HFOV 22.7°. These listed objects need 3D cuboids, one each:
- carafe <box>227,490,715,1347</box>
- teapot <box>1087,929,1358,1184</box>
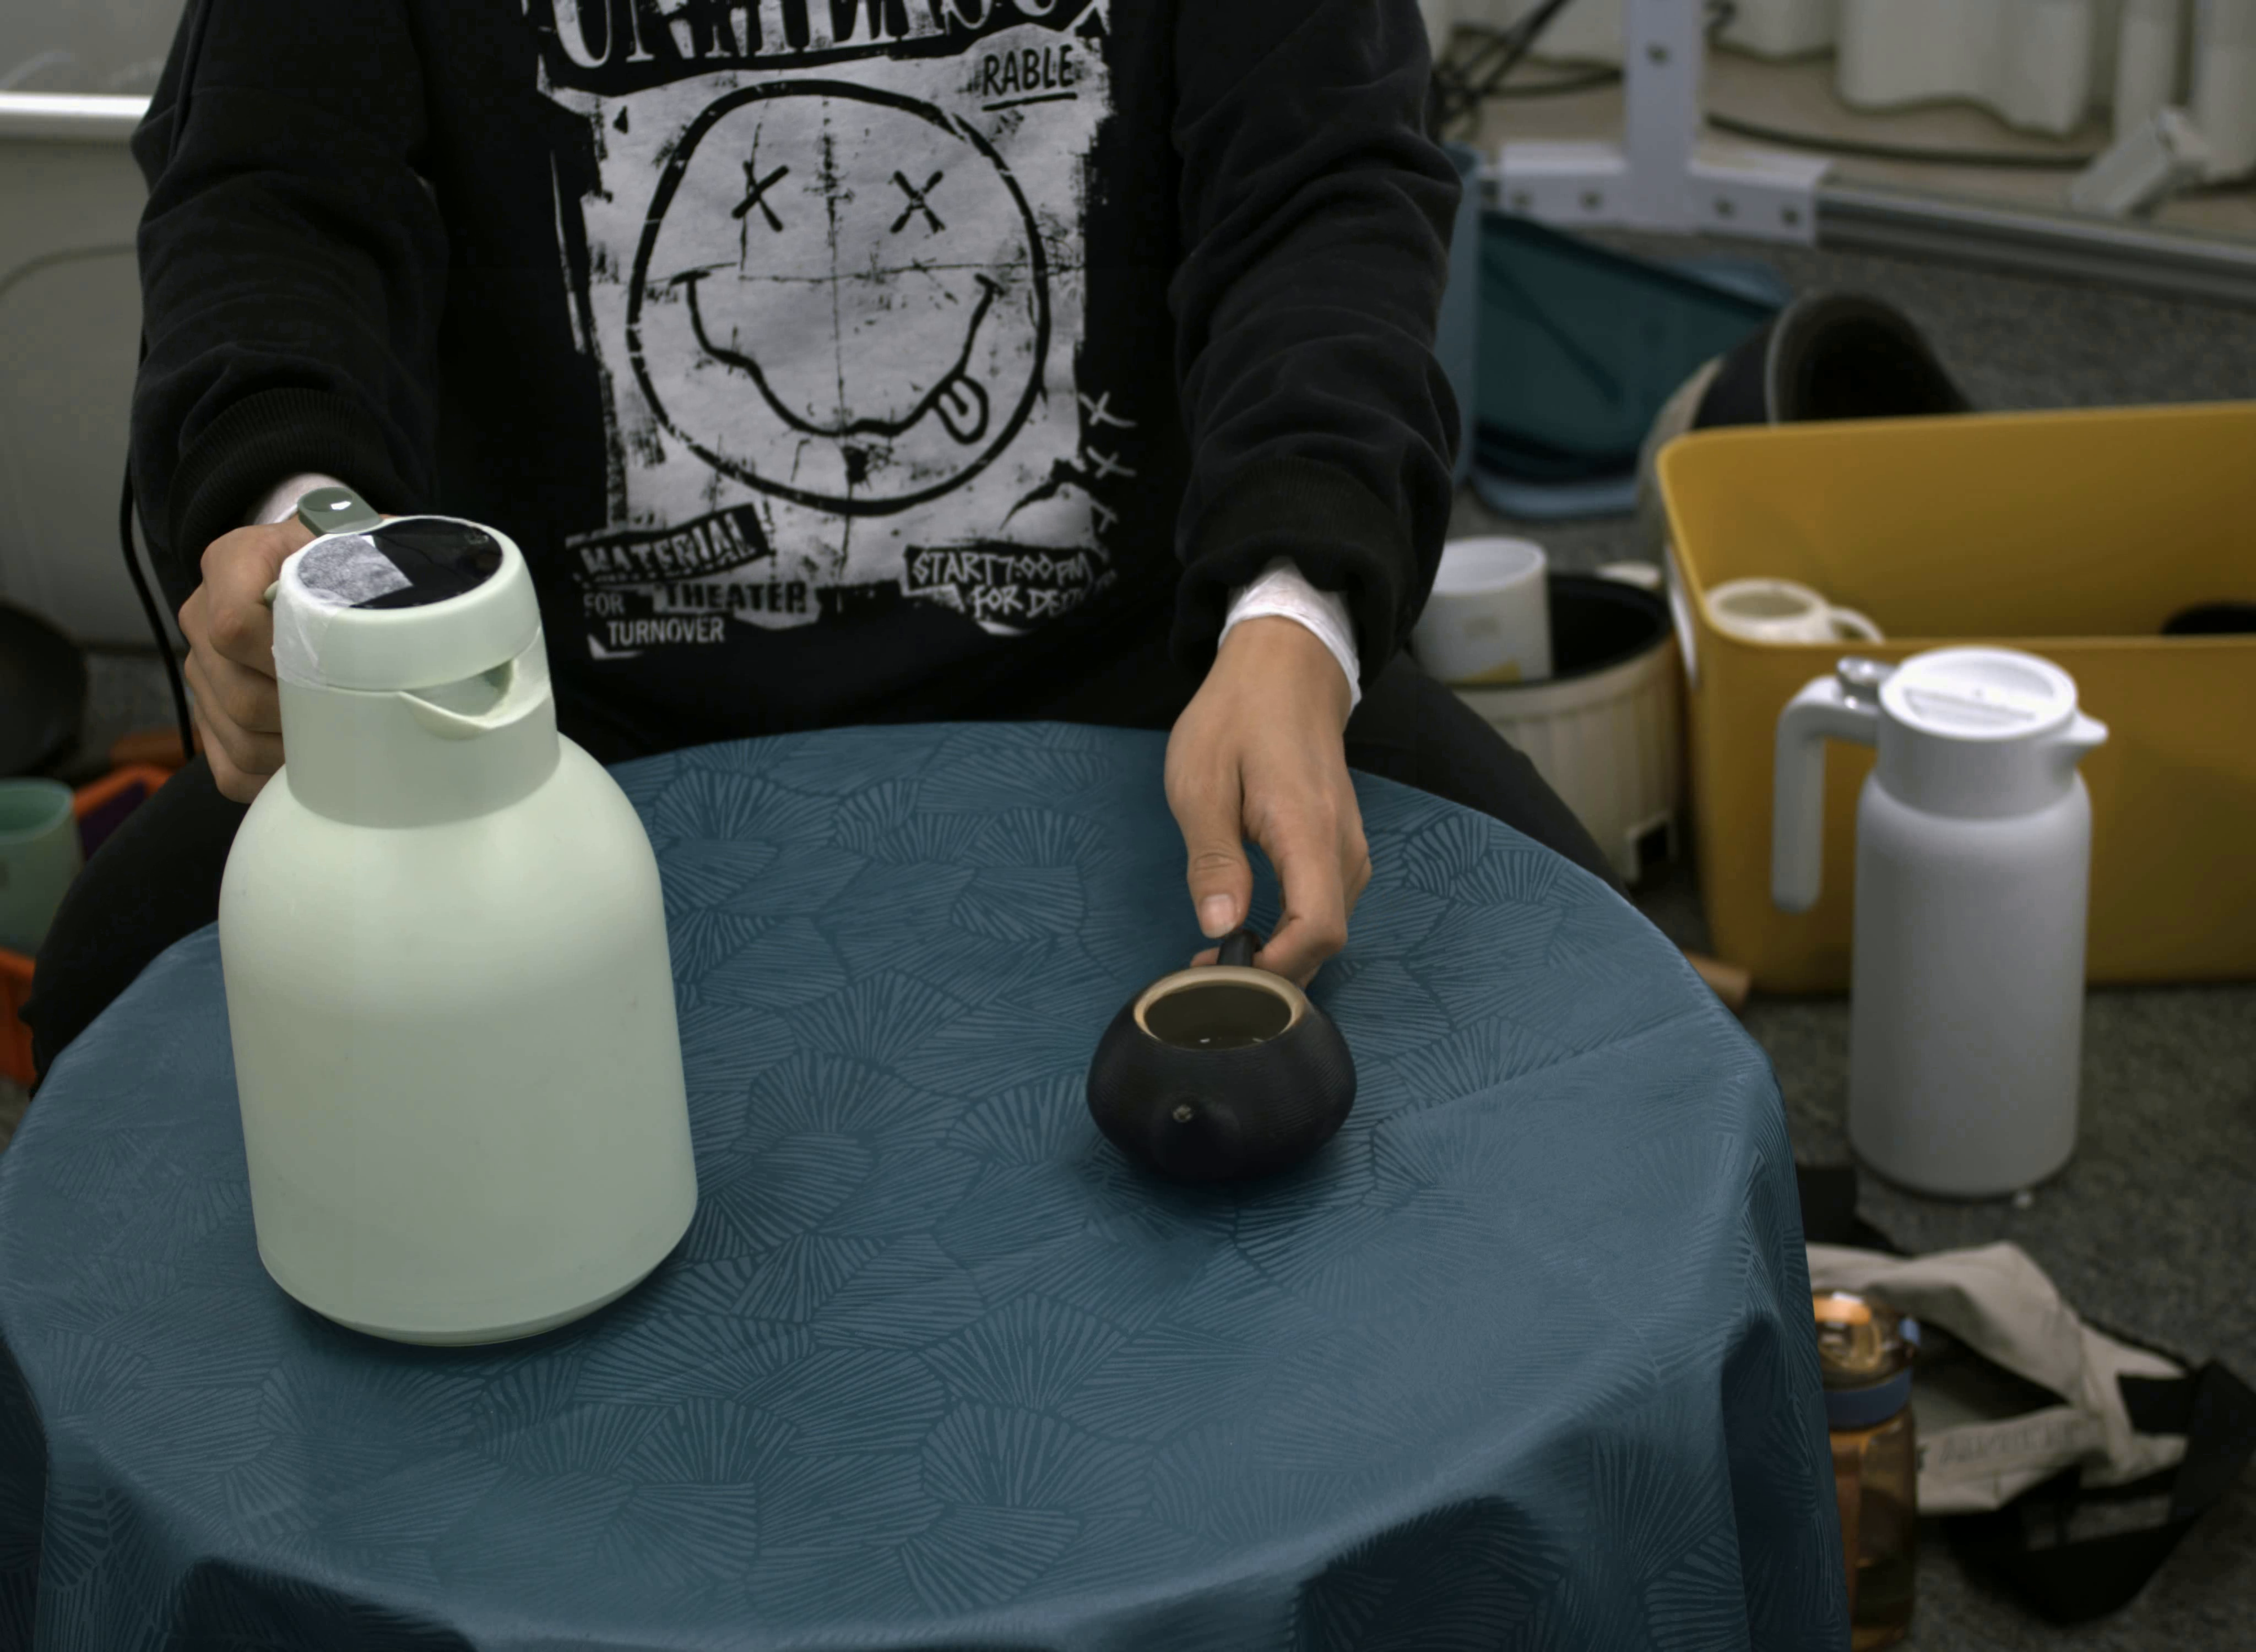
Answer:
[{"bbox_3d":[-0.224,0.023,1.803,0.145,0.254,0.187,-19,27,-26],"label":"carafe"},{"bbox_3d":[0.031,0.083,1.873,0.090,0.052,0.135,4,28,9],"label":"teapot"}]
